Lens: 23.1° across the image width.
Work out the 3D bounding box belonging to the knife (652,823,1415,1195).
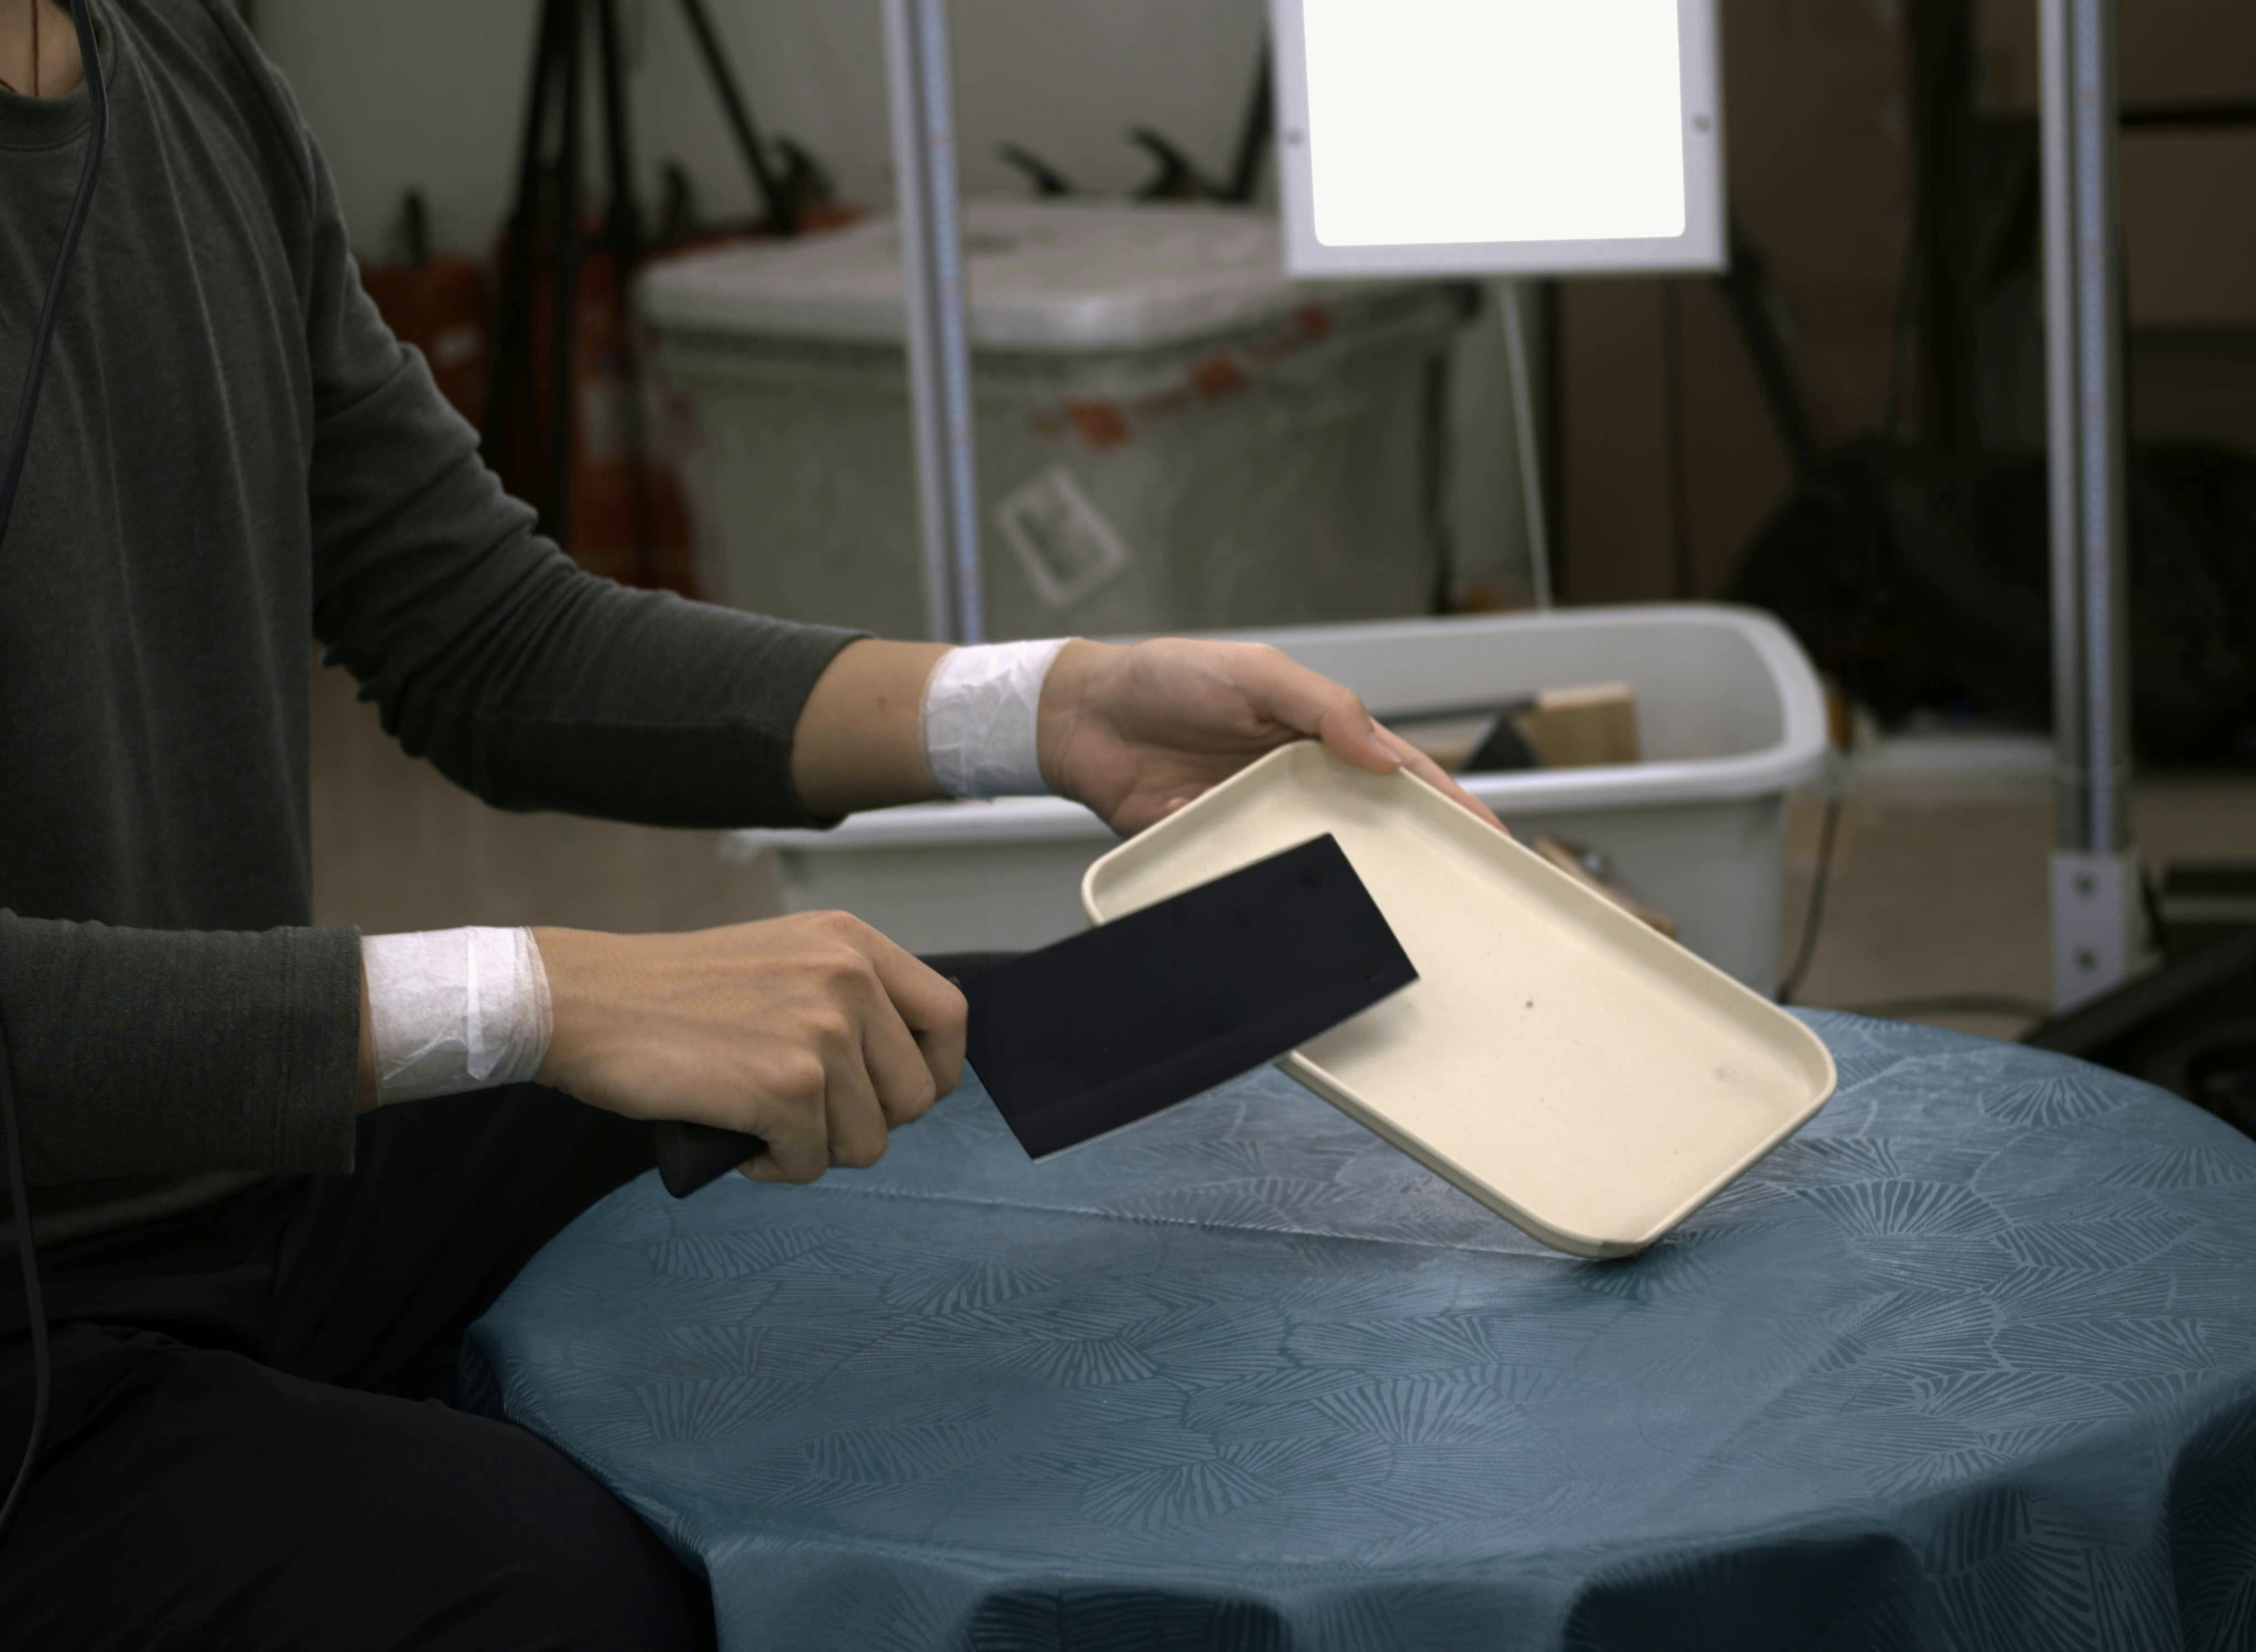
[{"bbox_3d":[-0.028,0.066,1.776,0.295,0.081,0.021,-17,-21,-34],"label":"knife"}]

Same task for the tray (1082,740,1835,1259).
[{"bbox_3d":[0.112,0.058,1.872,0.242,0.018,0.167,33,38,23],"label":"tray"}]
